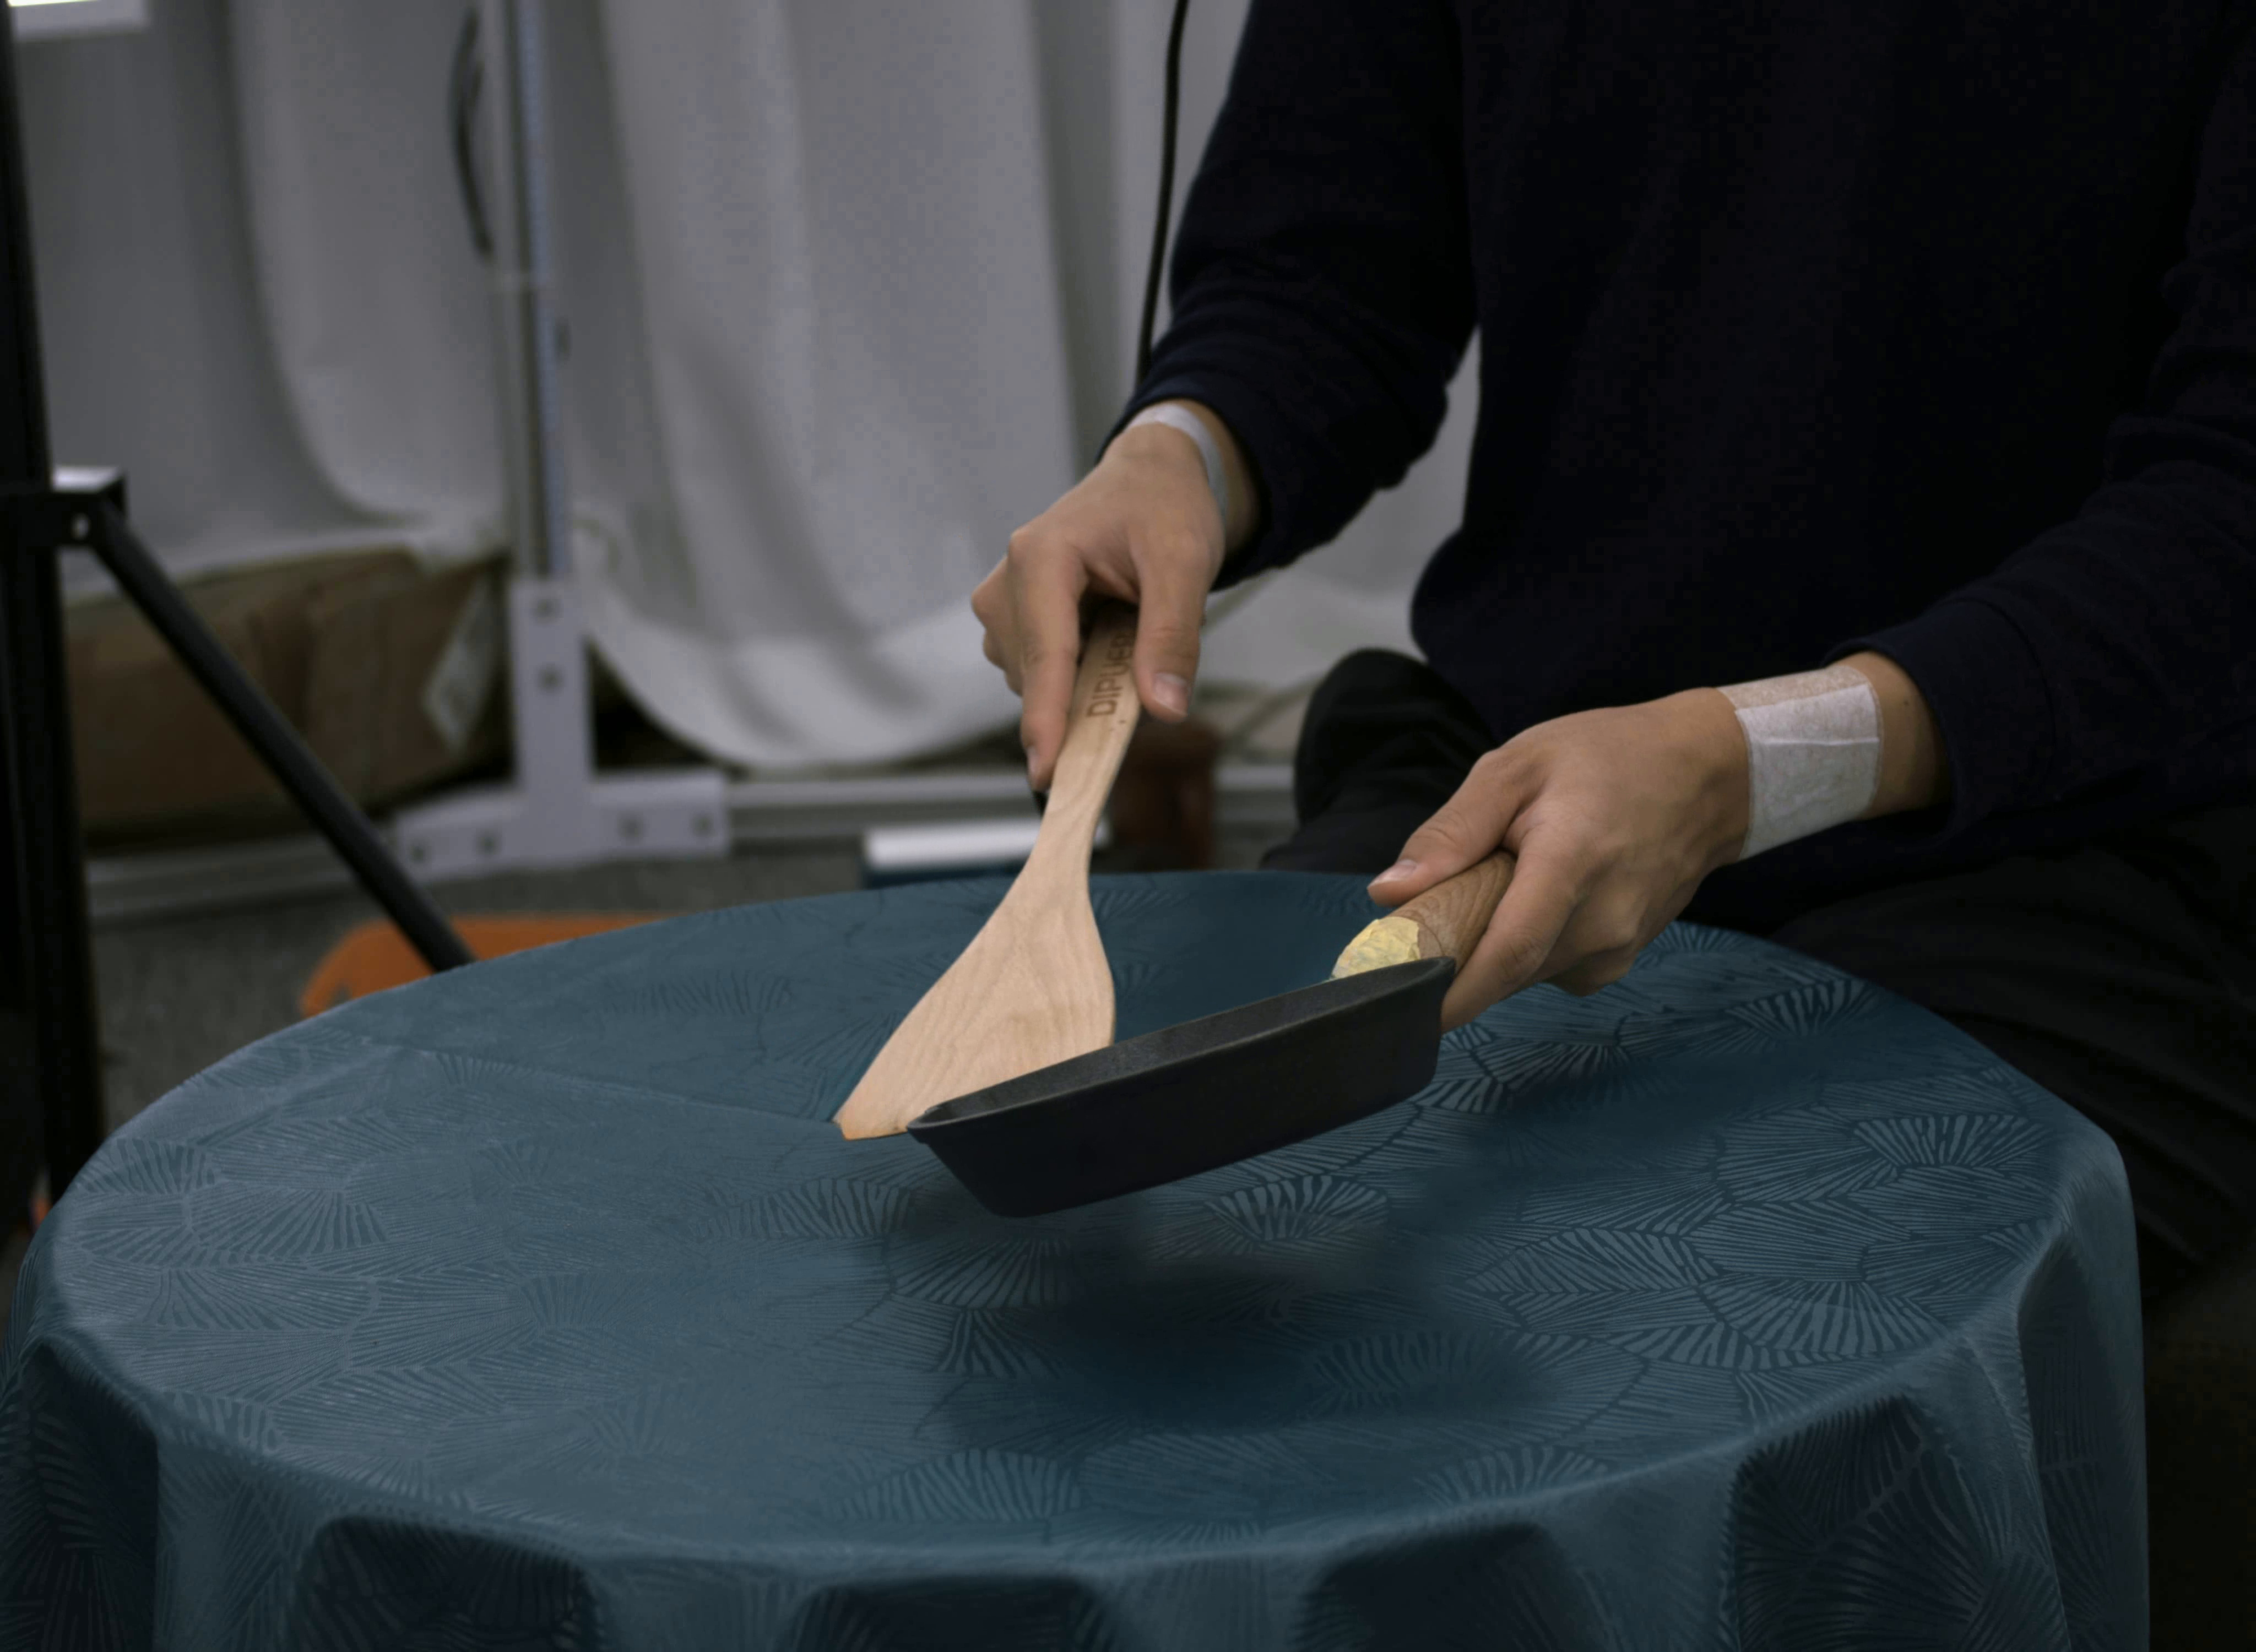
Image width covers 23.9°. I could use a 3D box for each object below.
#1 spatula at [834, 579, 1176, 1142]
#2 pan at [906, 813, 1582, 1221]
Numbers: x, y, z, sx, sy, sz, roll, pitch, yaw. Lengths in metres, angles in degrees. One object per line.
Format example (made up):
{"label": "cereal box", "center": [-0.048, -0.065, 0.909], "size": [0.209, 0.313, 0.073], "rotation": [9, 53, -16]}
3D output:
{"label": "spatula", "center": [-0.021, 0.004, 1.650], "size": [0.080, 0.016, 0.328], "rotation": [-7, 31, 16]}
{"label": "pan", "center": [0.061, 0.051, 1.516], "size": [0.172, 0.050, 0.317], "rotation": [-16, 3, 35]}
